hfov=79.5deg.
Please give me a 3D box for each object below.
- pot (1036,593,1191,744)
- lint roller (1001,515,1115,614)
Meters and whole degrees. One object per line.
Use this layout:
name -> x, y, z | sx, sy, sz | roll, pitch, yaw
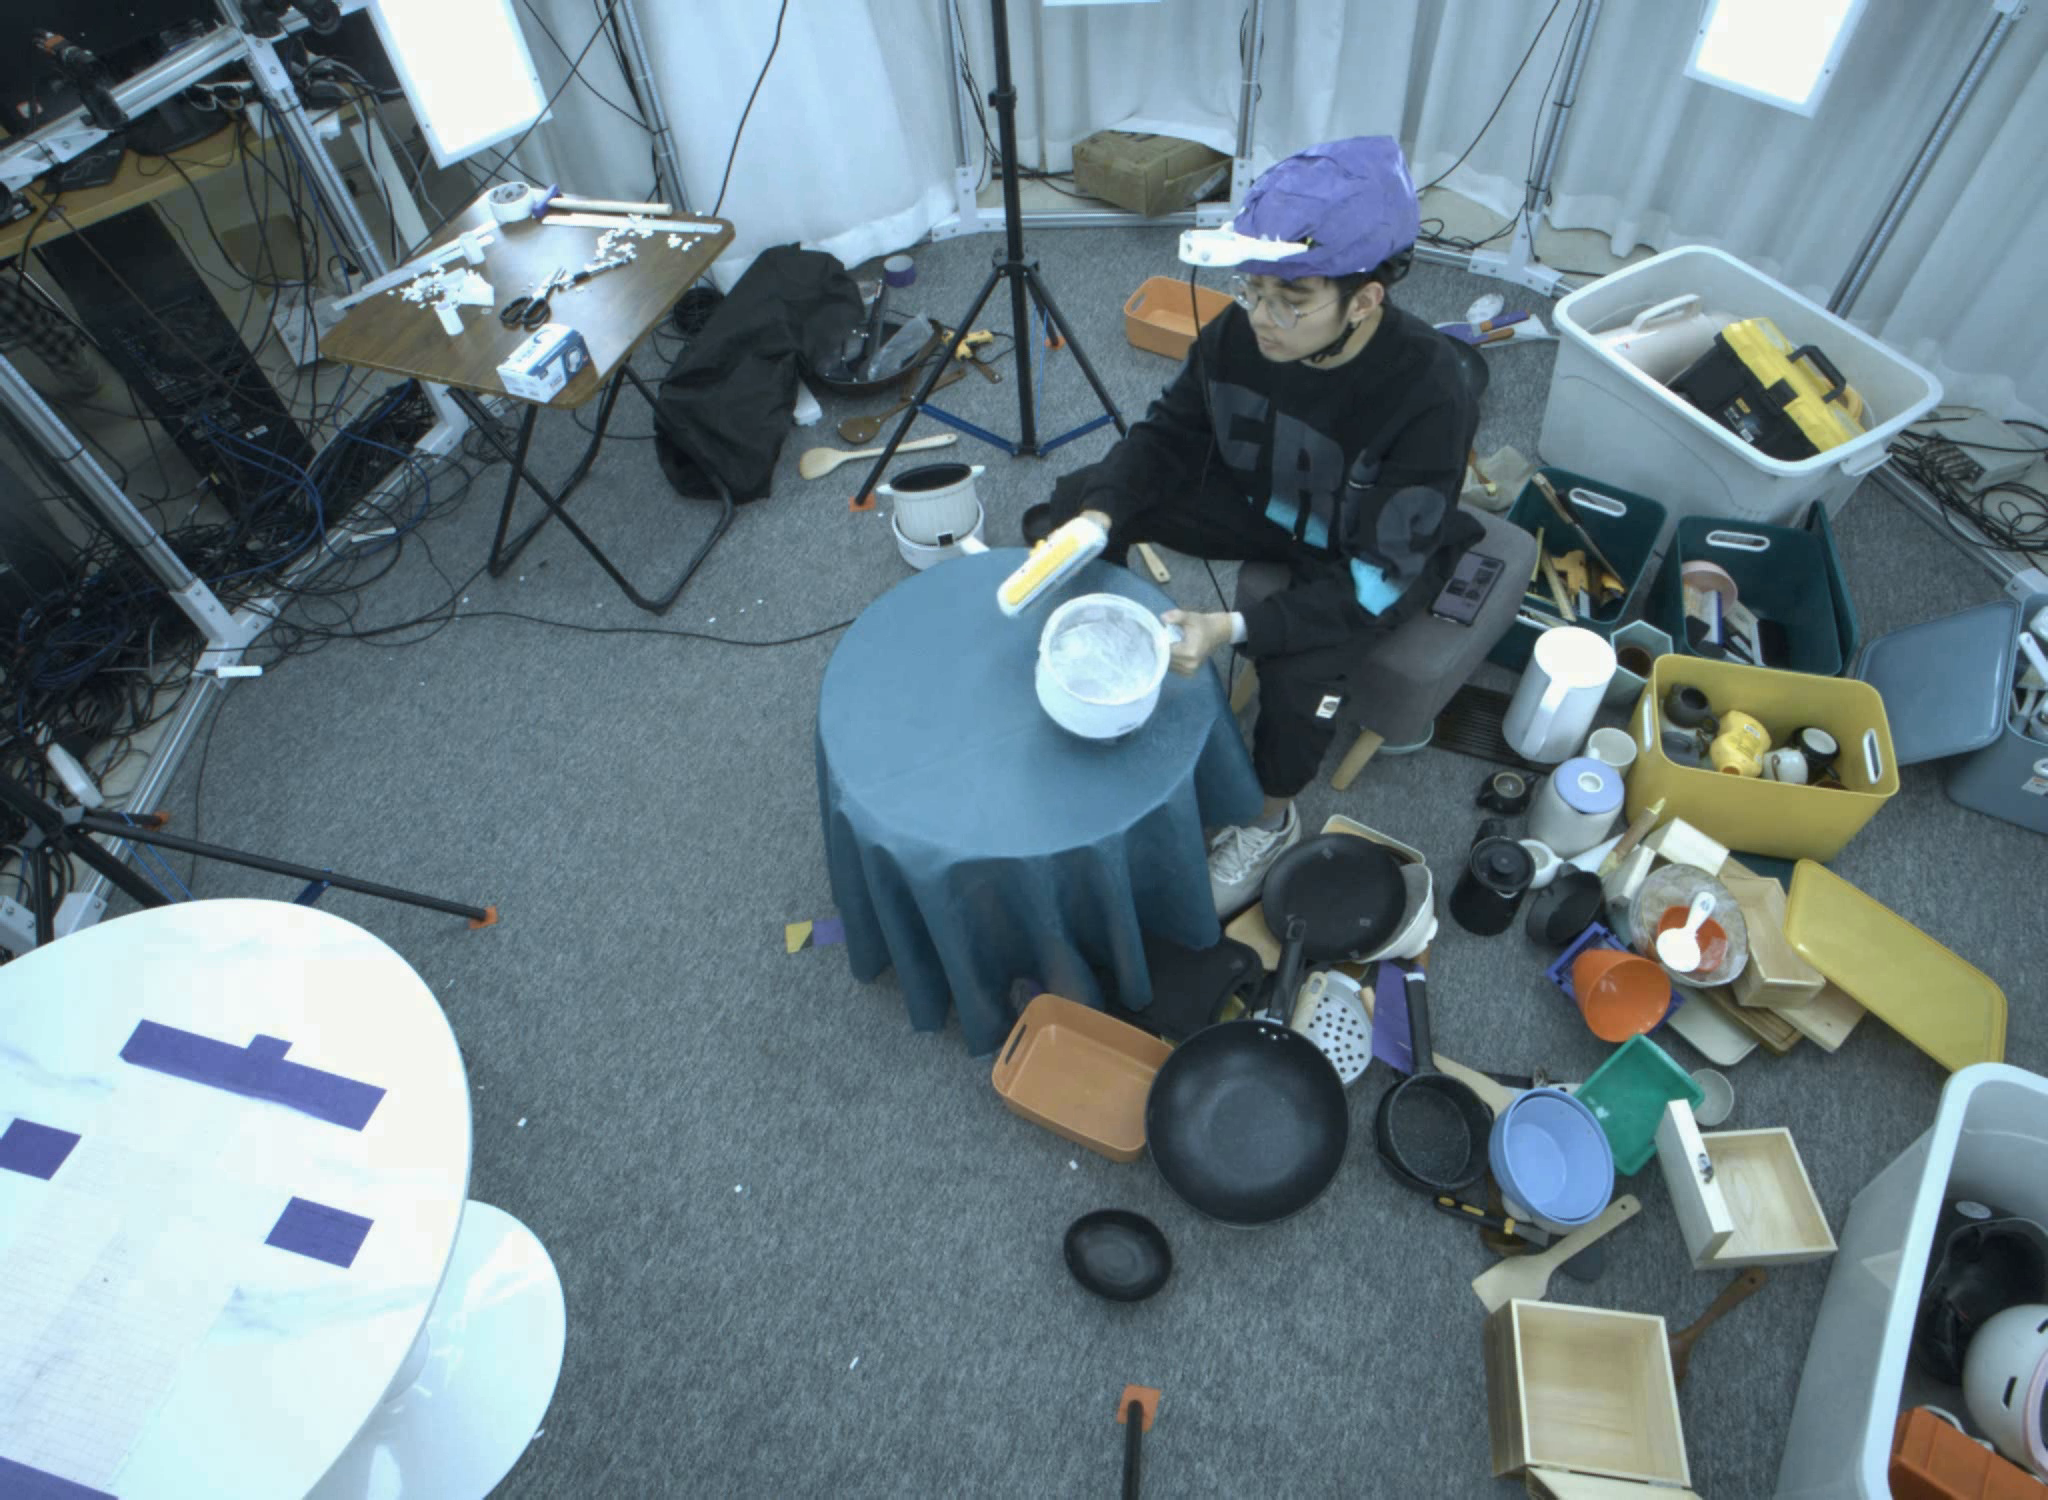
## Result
pot -> 0.132, -0.122, 1.732 | 0.235, 0.137, 0.176 | -23, 71, -15
lint roller -> 0.061, -0.285, 1.863 | 0.192, 0.194, 0.074 | -41, 85, 19
